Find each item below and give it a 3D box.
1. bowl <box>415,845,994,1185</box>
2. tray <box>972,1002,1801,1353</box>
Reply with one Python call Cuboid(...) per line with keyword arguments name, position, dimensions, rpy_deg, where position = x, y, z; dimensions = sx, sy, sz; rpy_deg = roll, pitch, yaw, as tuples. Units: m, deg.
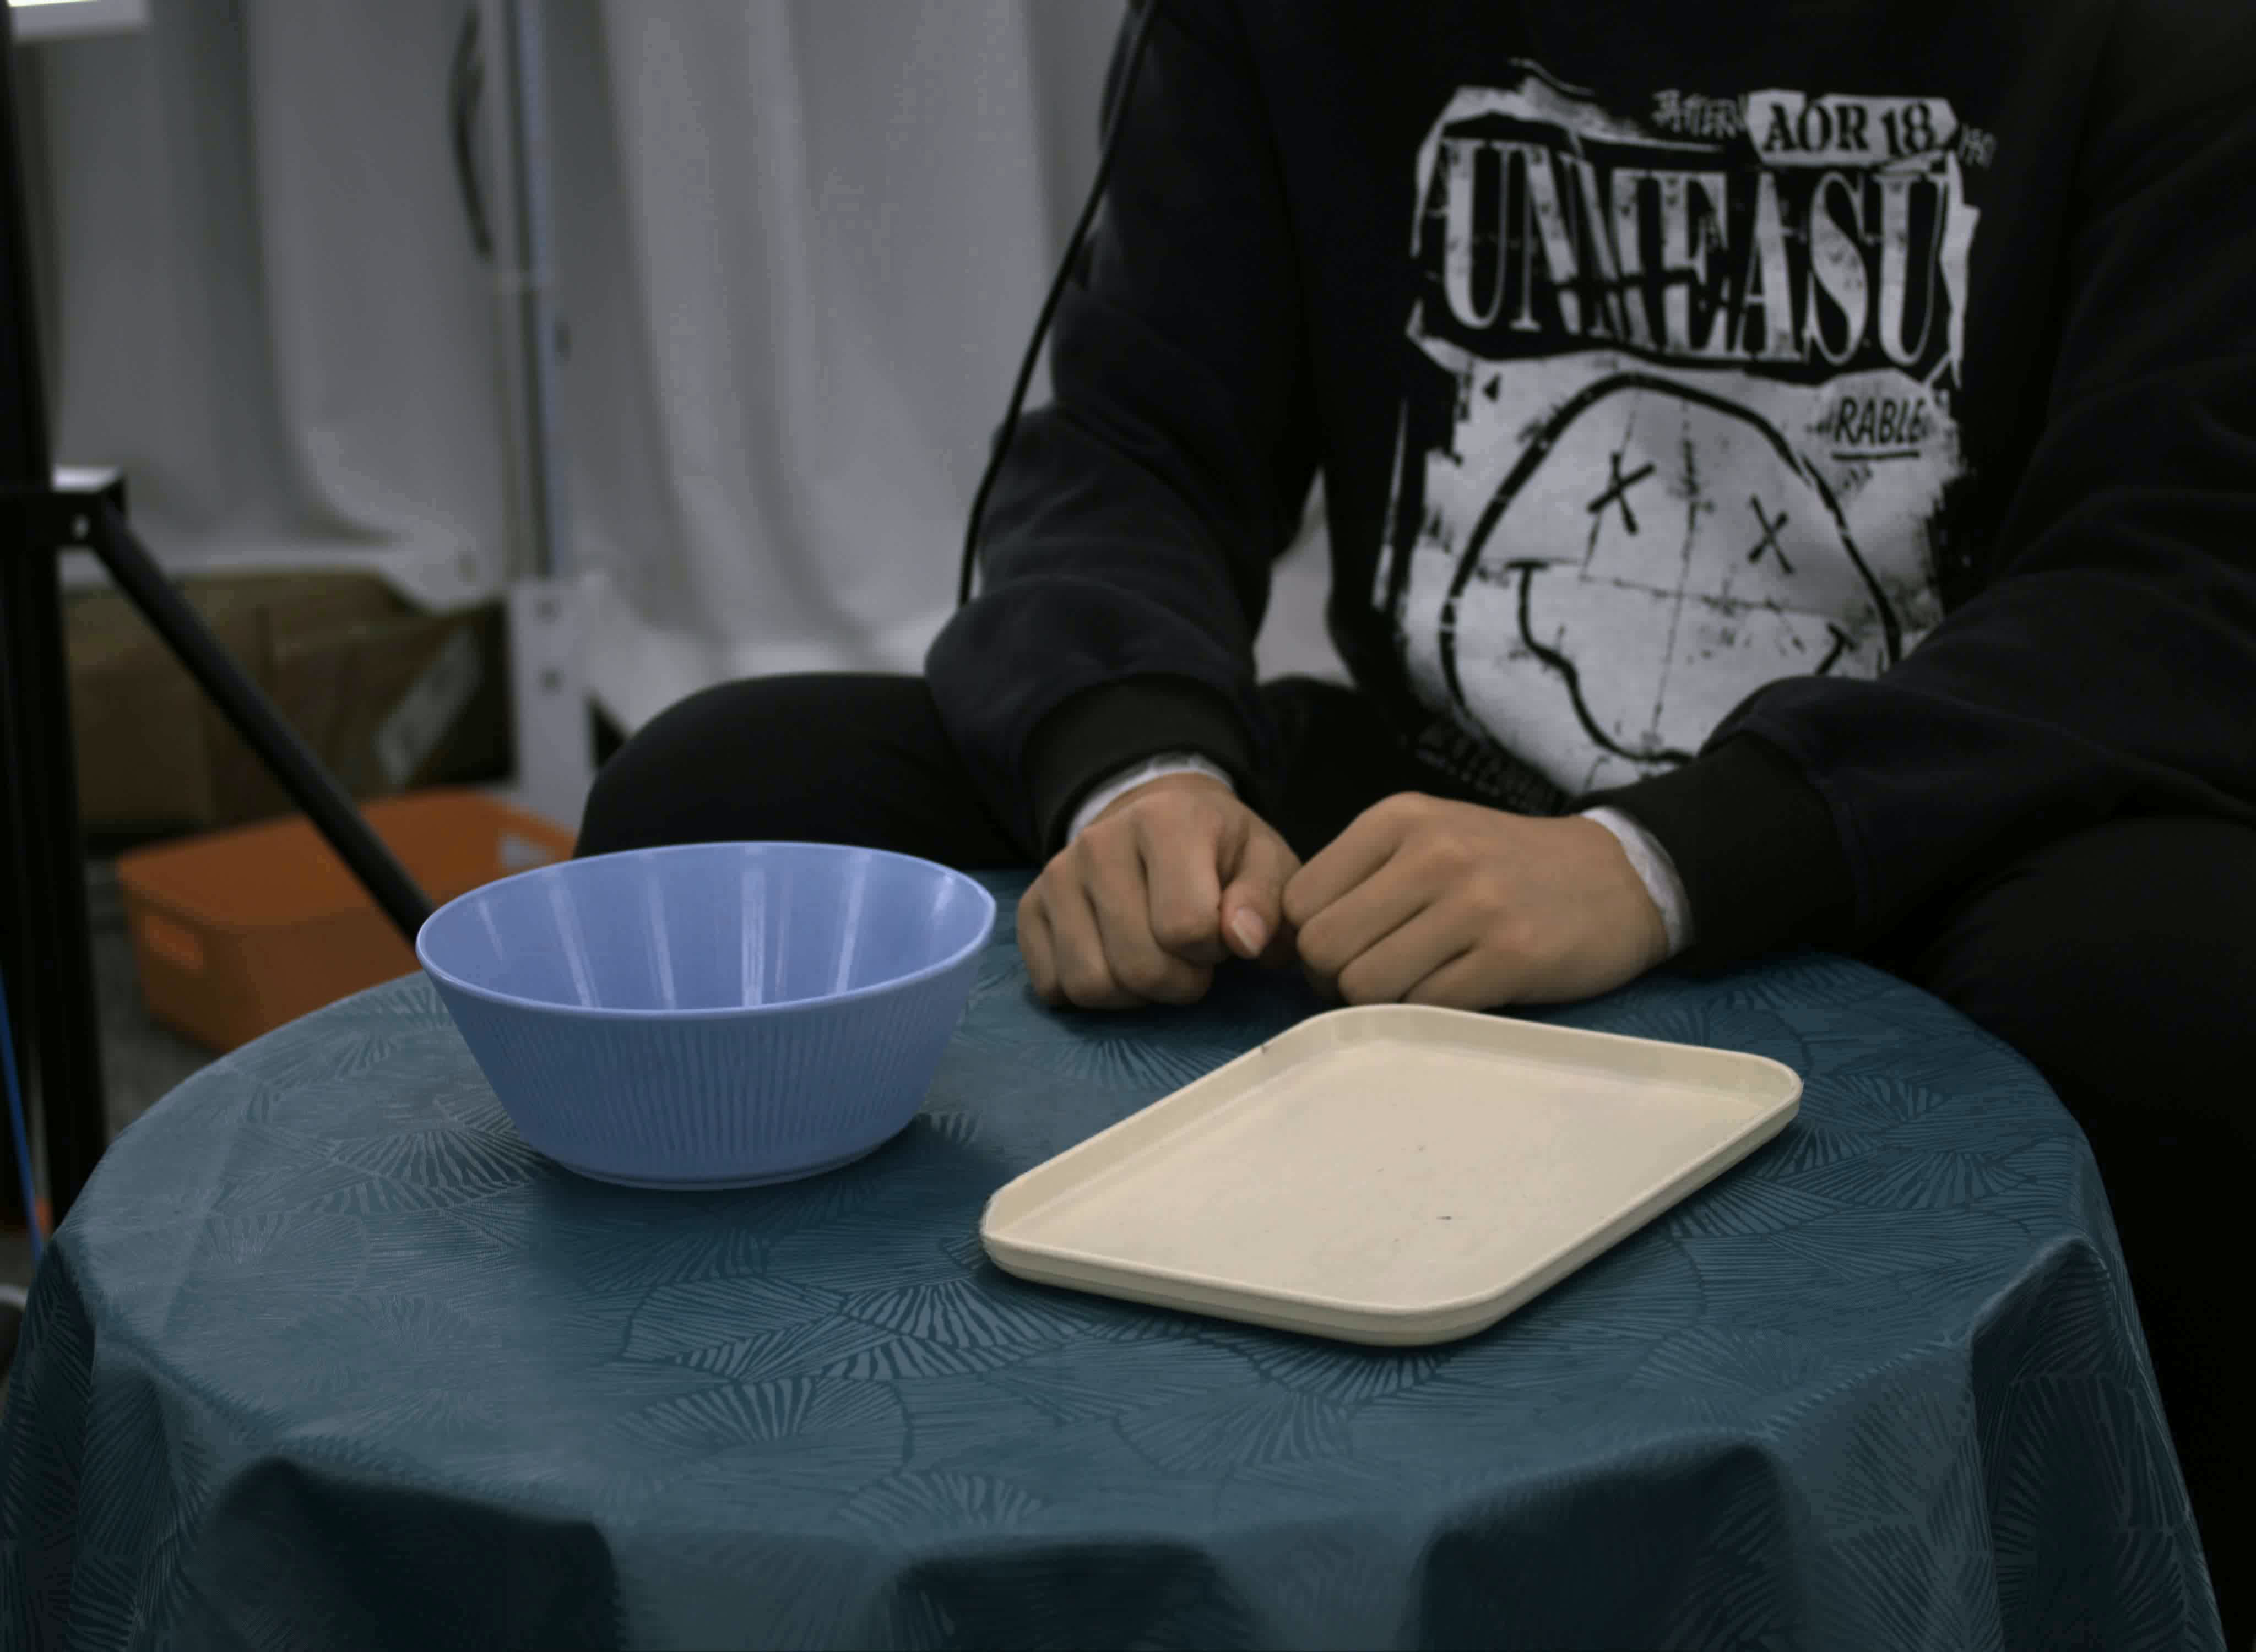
Cuboid(name="bowl", position=(-0.127, 0.060, 1.621), dimensions=(0.175, 0.070, 0.177), rpy_deg=(-2, 16, -1))
Cuboid(name="tray", position=(0.079, 0.100, 1.540), dimensions=(0.174, 0.017, 0.235), rpy_deg=(9, 19, 33))
